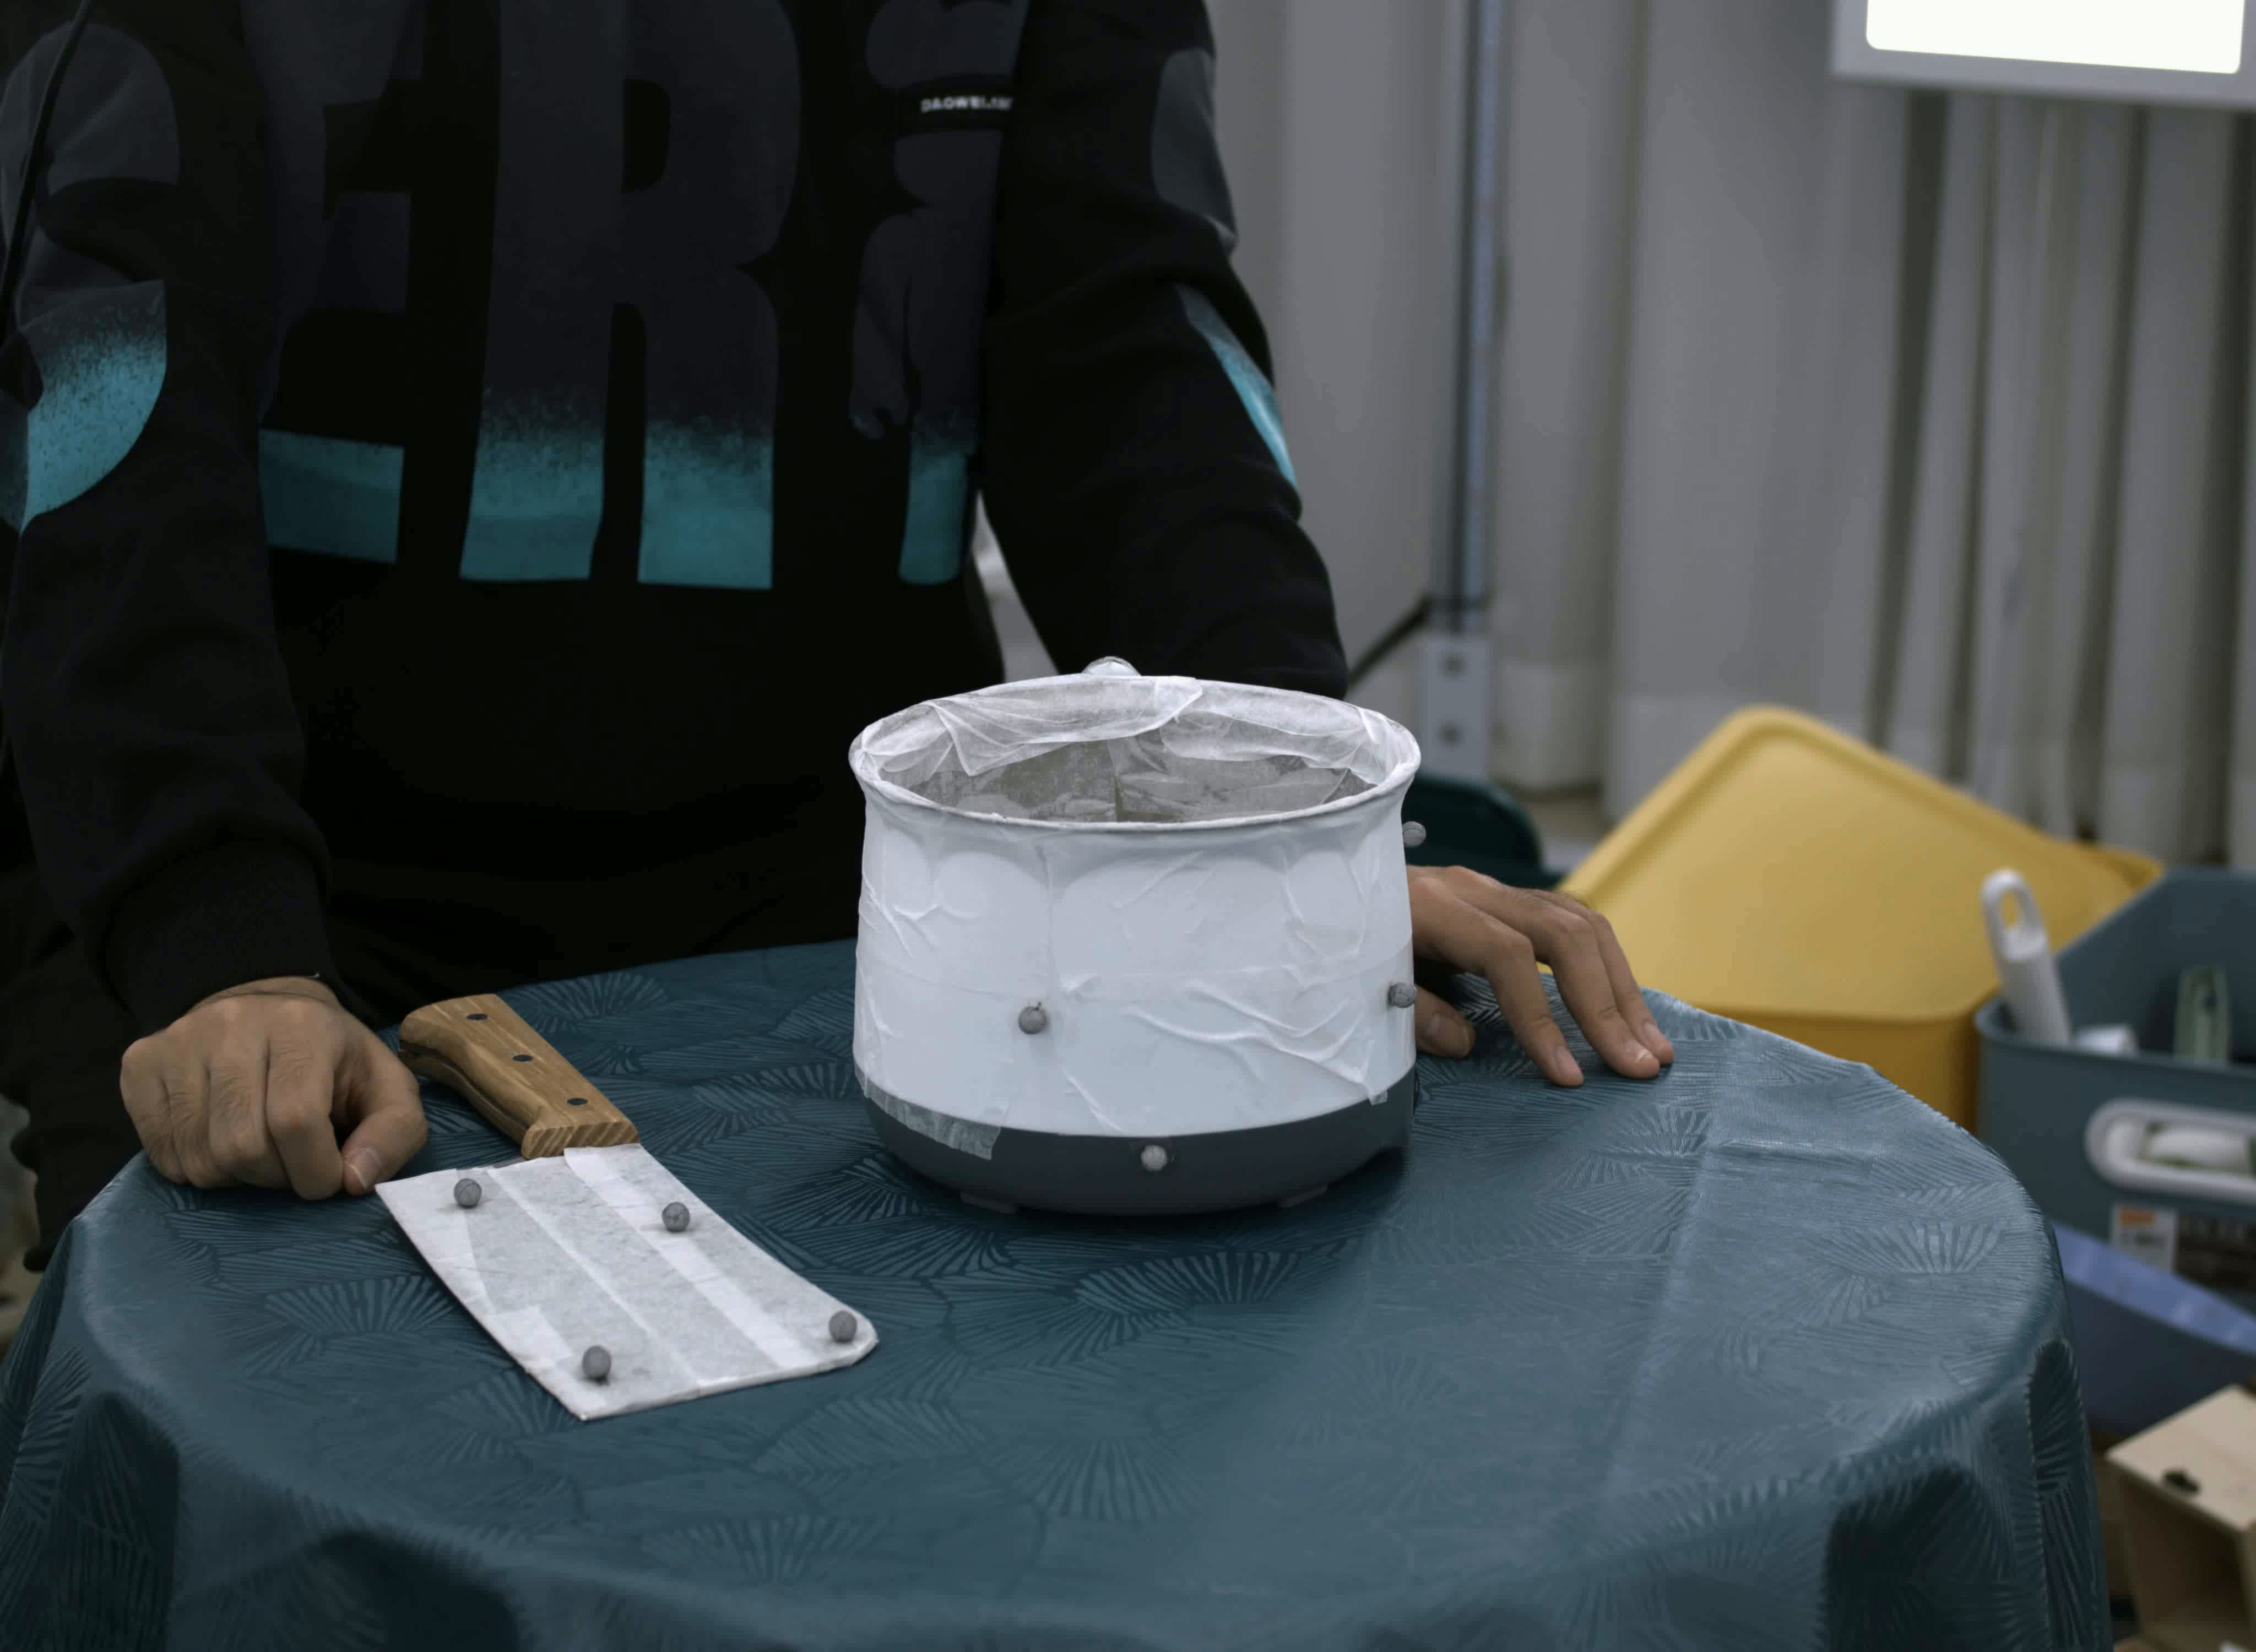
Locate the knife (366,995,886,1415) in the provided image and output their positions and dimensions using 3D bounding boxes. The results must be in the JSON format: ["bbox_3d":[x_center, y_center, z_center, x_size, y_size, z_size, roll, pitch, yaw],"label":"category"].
[{"bbox_3d":[-0.168,0.111,1.588,0.114,0.022,0.311,-6,20,-22],"label":"knife"}]

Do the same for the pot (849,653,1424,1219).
[{"bbox_3d":[0.000,0.029,1.663,0.178,0.138,0.232,-1,17,-6],"label":"pot"}]
